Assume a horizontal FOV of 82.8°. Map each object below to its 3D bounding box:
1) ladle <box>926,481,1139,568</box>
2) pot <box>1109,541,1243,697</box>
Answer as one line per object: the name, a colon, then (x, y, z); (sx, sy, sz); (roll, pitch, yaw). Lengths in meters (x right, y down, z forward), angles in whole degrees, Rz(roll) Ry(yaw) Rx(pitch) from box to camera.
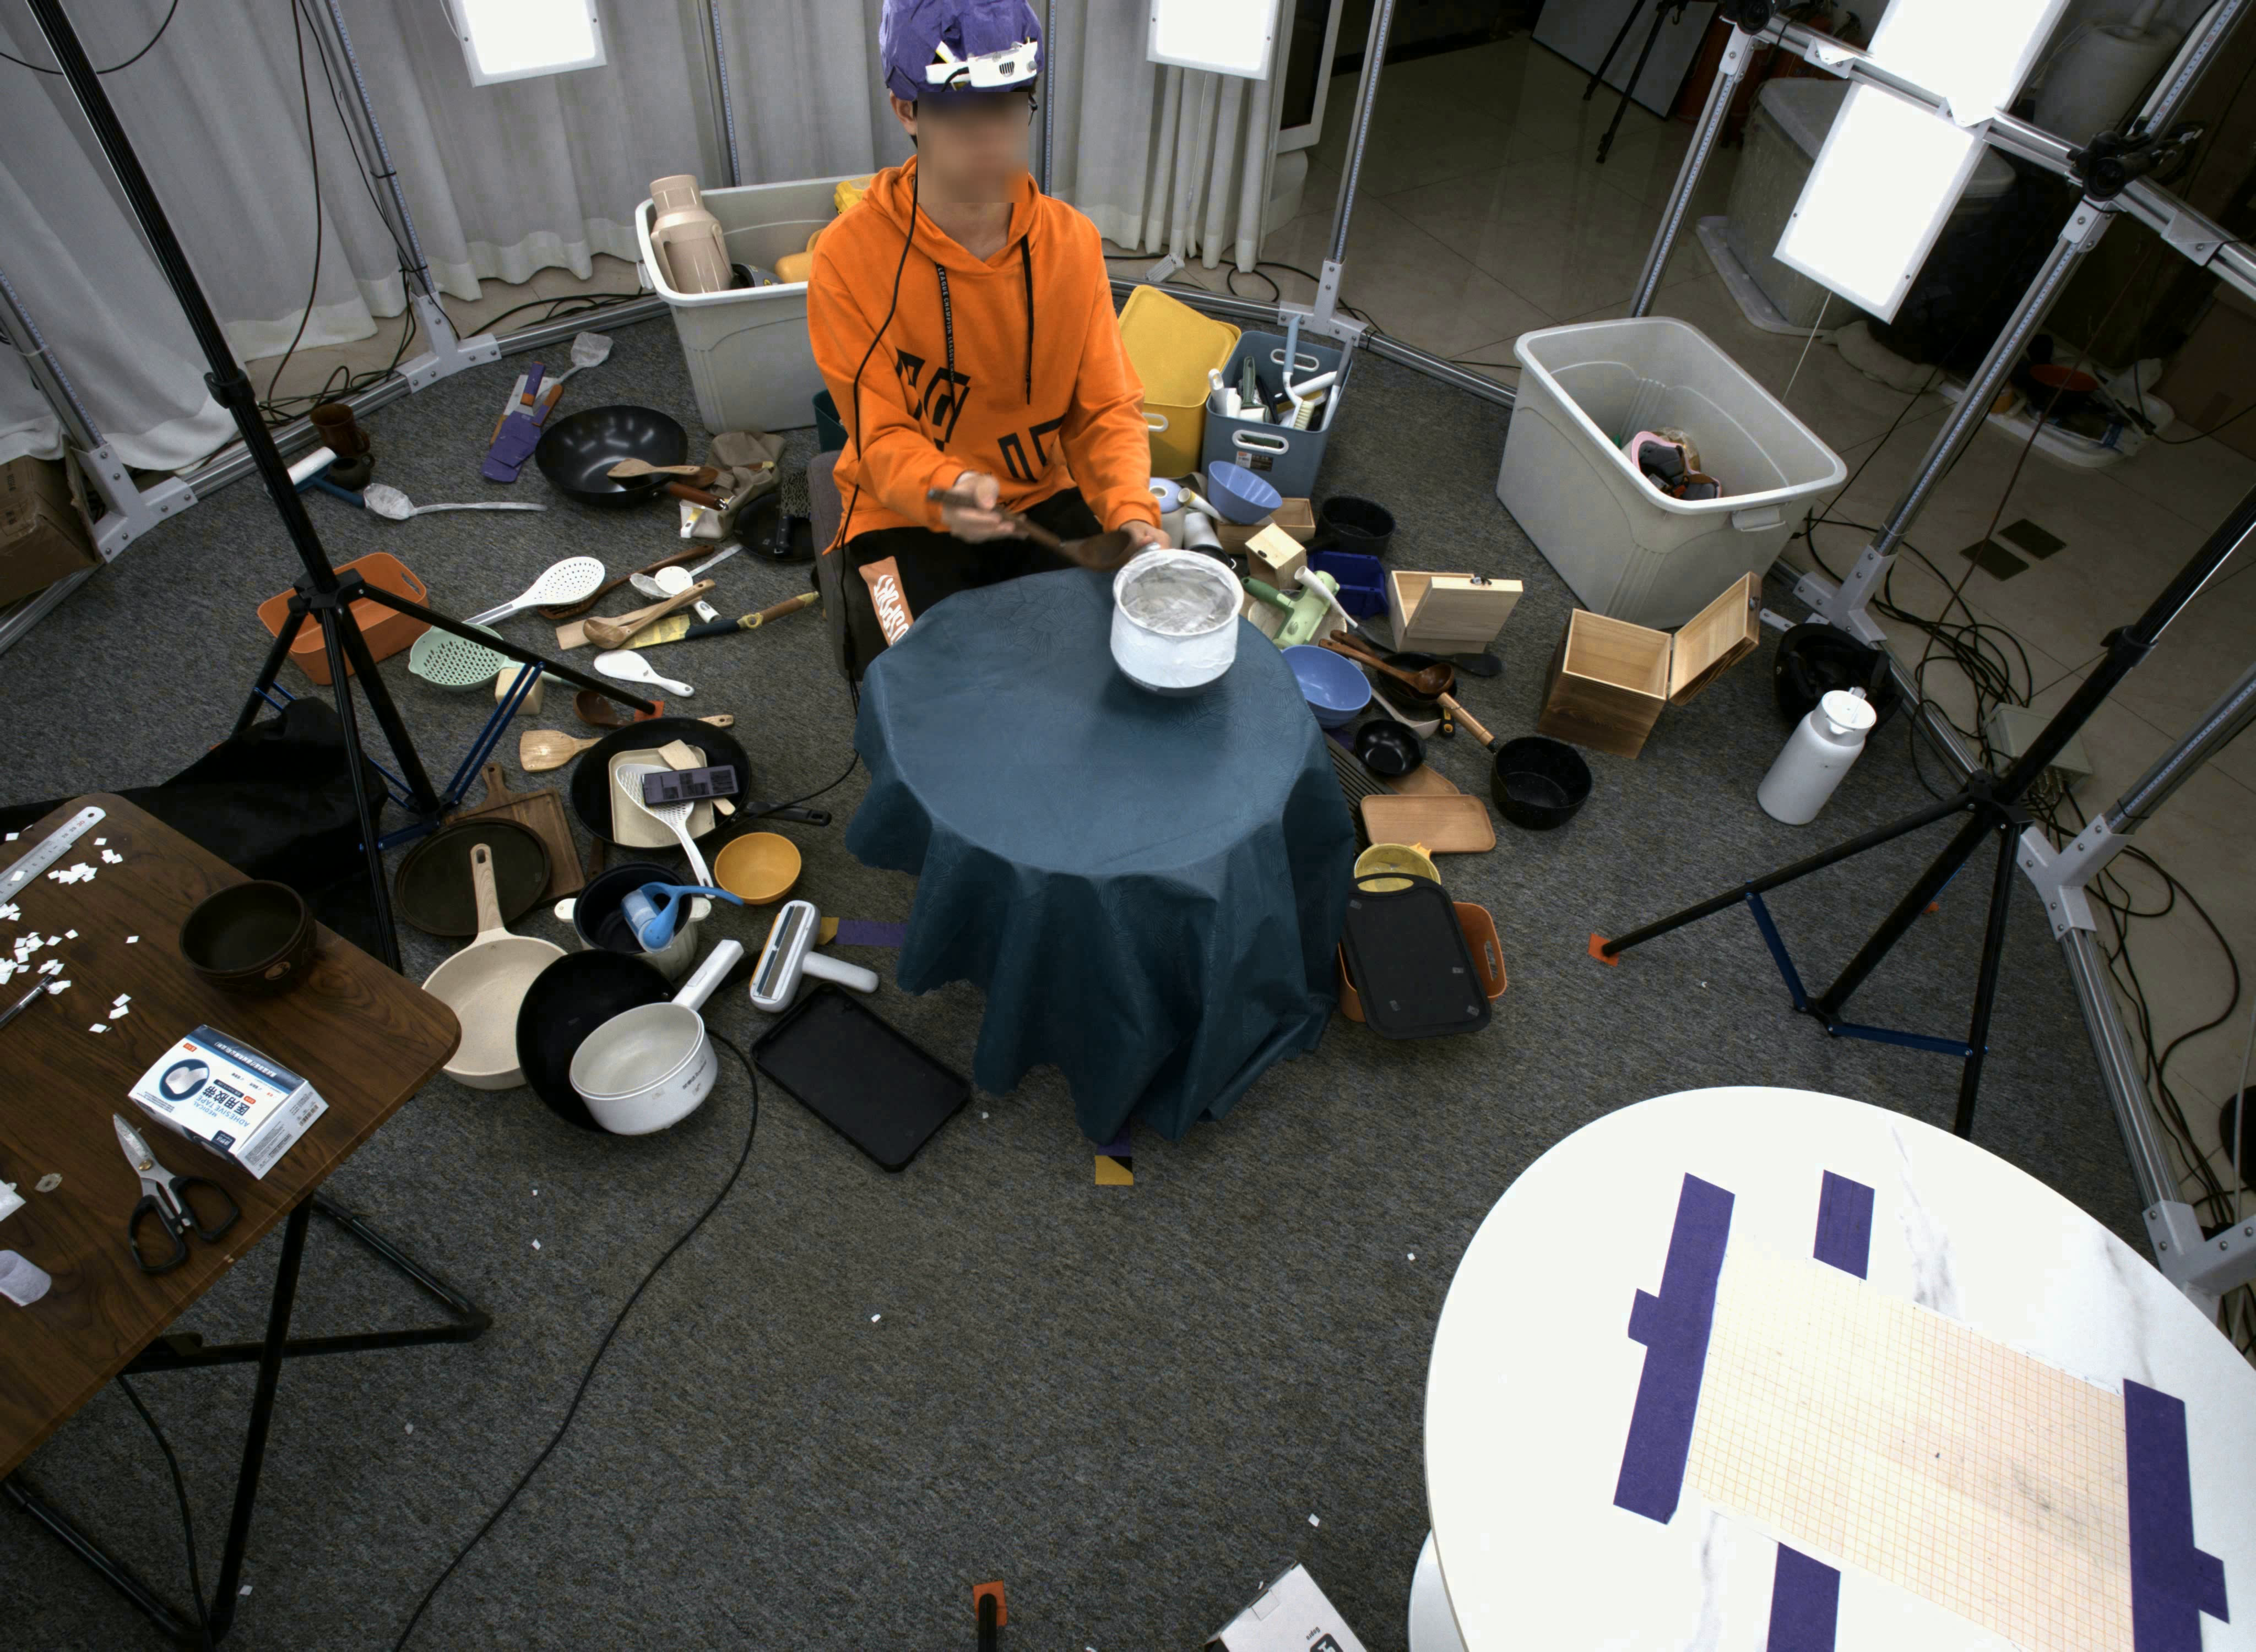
ladle: (-0.119, -0.405, 1.660); (0.272, 0.070, 0.078); (22, 42, -11)
pot: (0.053, -0.298, 1.795); (0.179, 0.133, 0.239); (-14, 52, -15)
